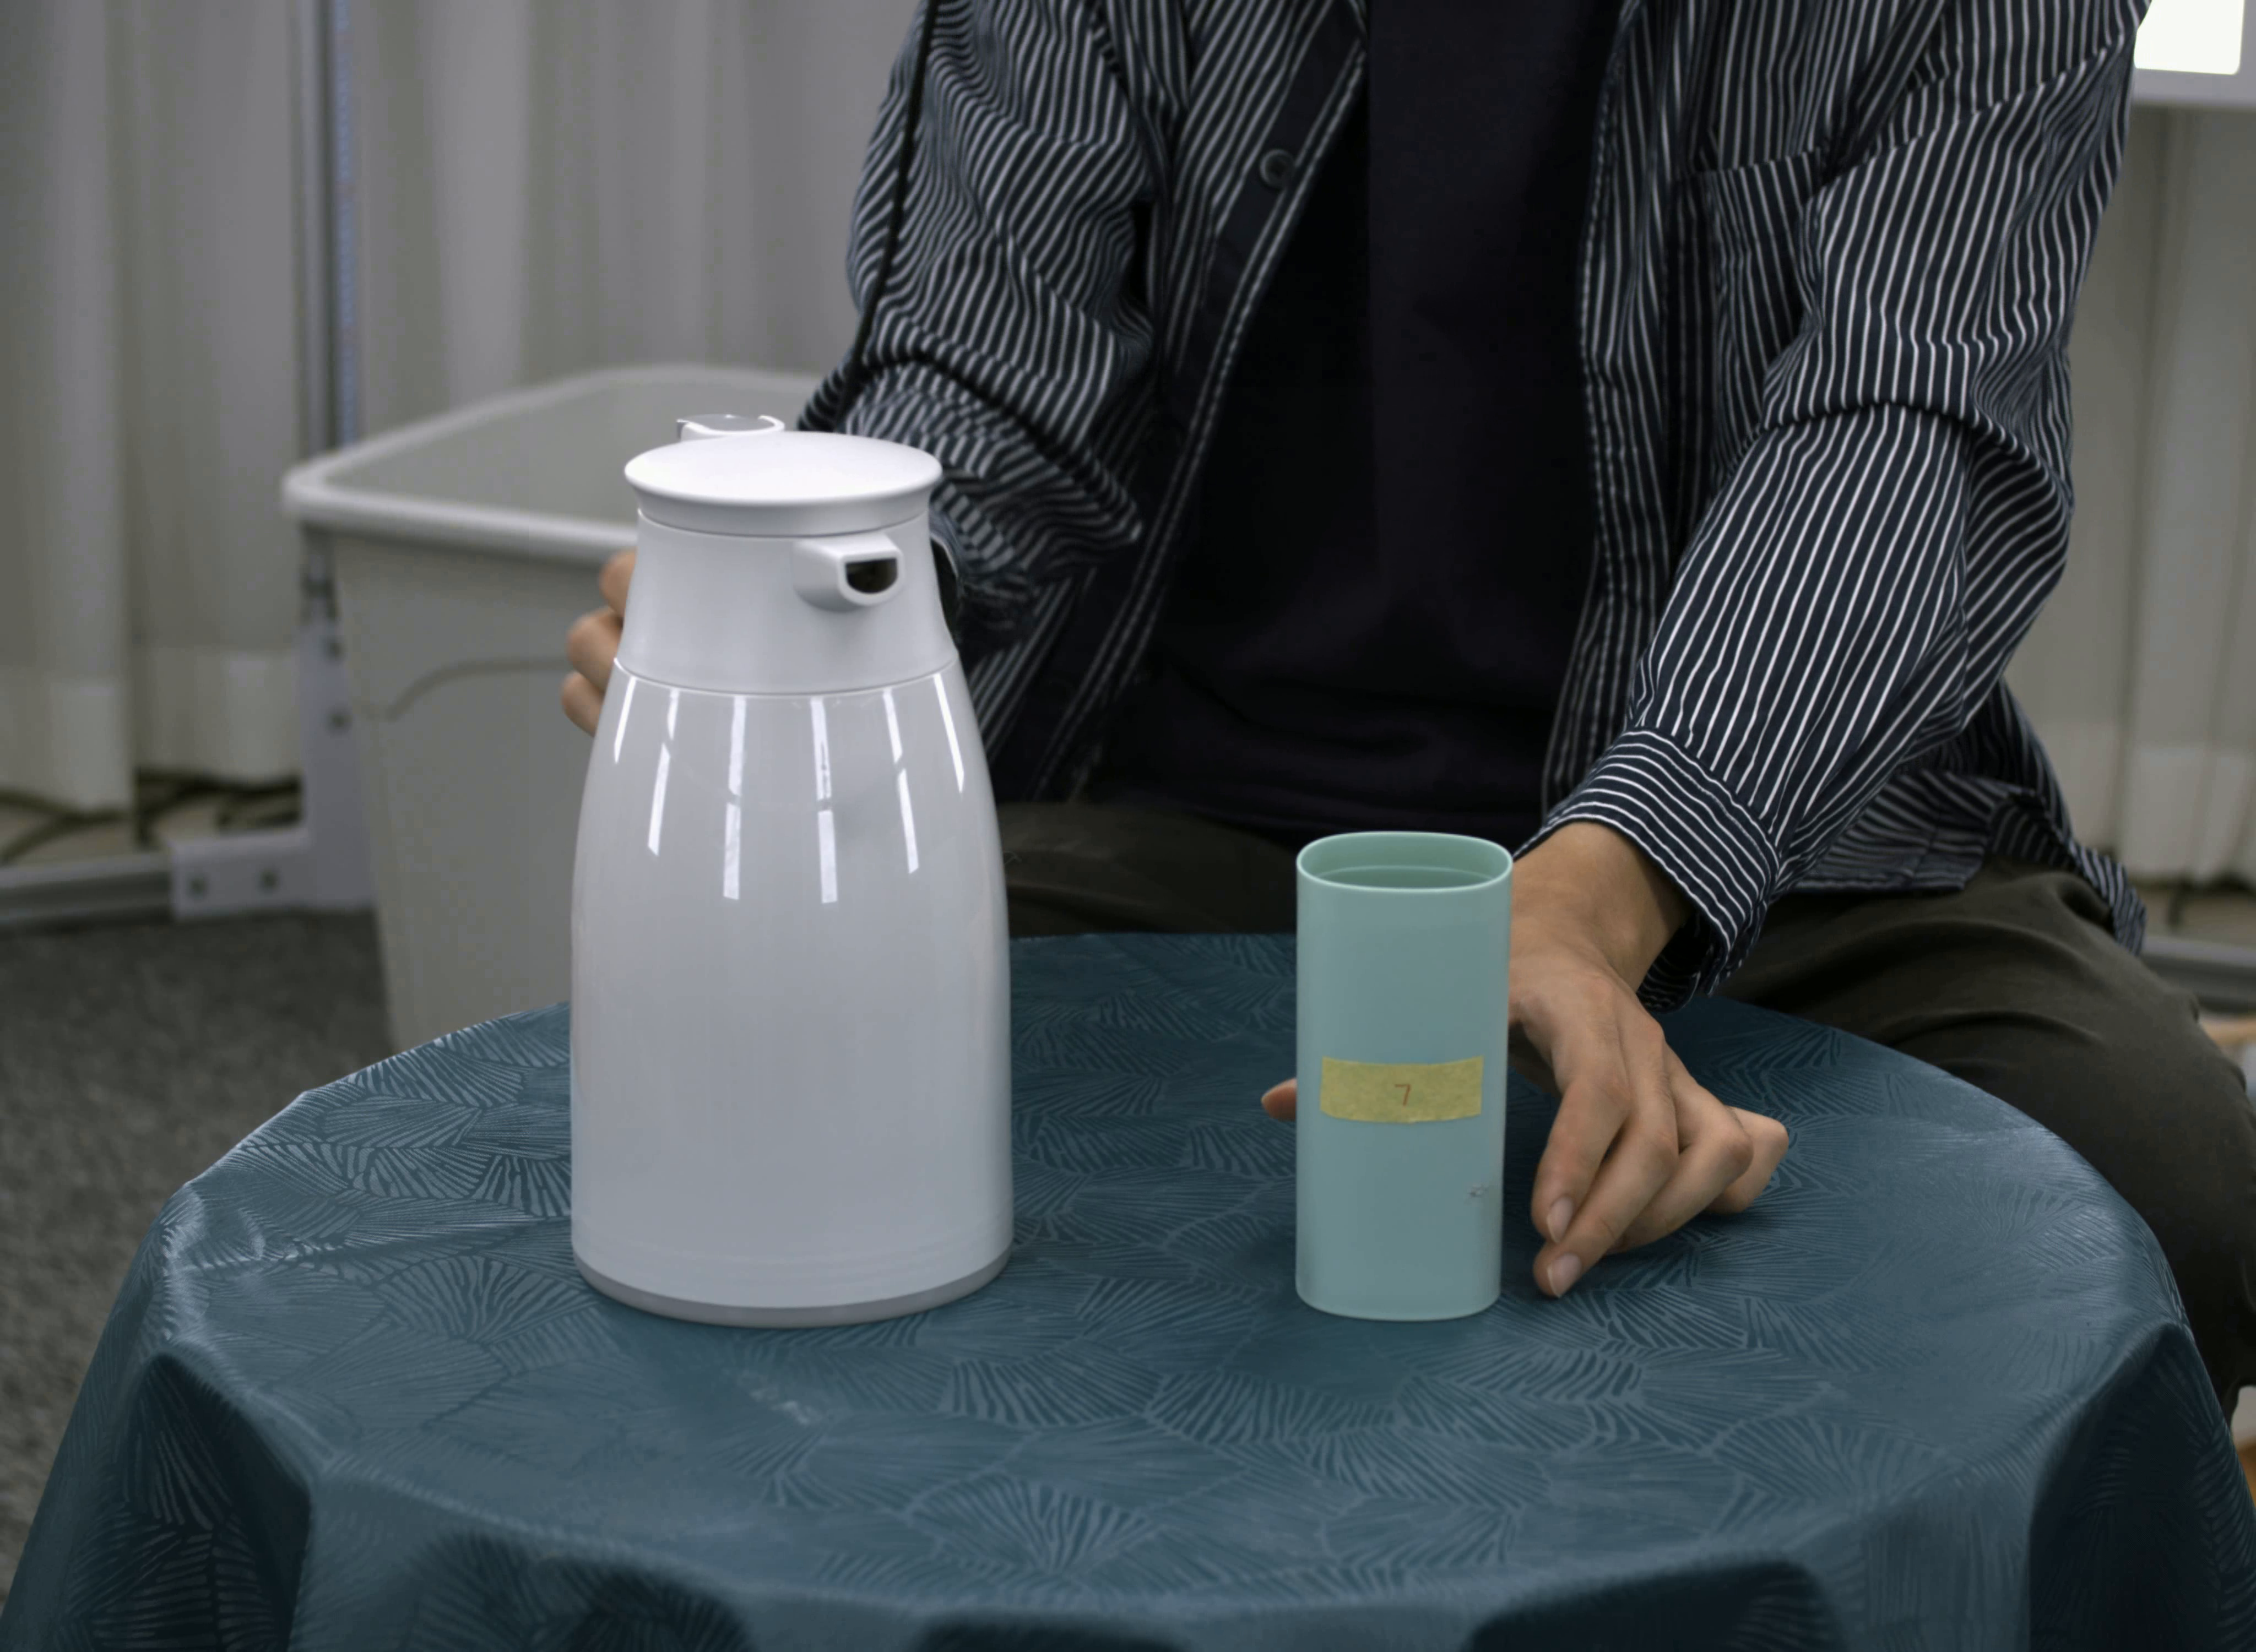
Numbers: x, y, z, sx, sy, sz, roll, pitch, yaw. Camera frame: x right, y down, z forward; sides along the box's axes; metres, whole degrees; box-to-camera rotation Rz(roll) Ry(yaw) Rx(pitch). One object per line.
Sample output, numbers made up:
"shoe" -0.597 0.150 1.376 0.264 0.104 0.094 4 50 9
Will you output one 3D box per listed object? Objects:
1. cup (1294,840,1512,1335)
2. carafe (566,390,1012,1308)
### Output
"cup" 0.079 0.075 1.533 0.066 0.133 0.066 0 17 0
"carafe" -0.111 -0.002 1.554 0.133 0.250 0.165 -10 18 -29
